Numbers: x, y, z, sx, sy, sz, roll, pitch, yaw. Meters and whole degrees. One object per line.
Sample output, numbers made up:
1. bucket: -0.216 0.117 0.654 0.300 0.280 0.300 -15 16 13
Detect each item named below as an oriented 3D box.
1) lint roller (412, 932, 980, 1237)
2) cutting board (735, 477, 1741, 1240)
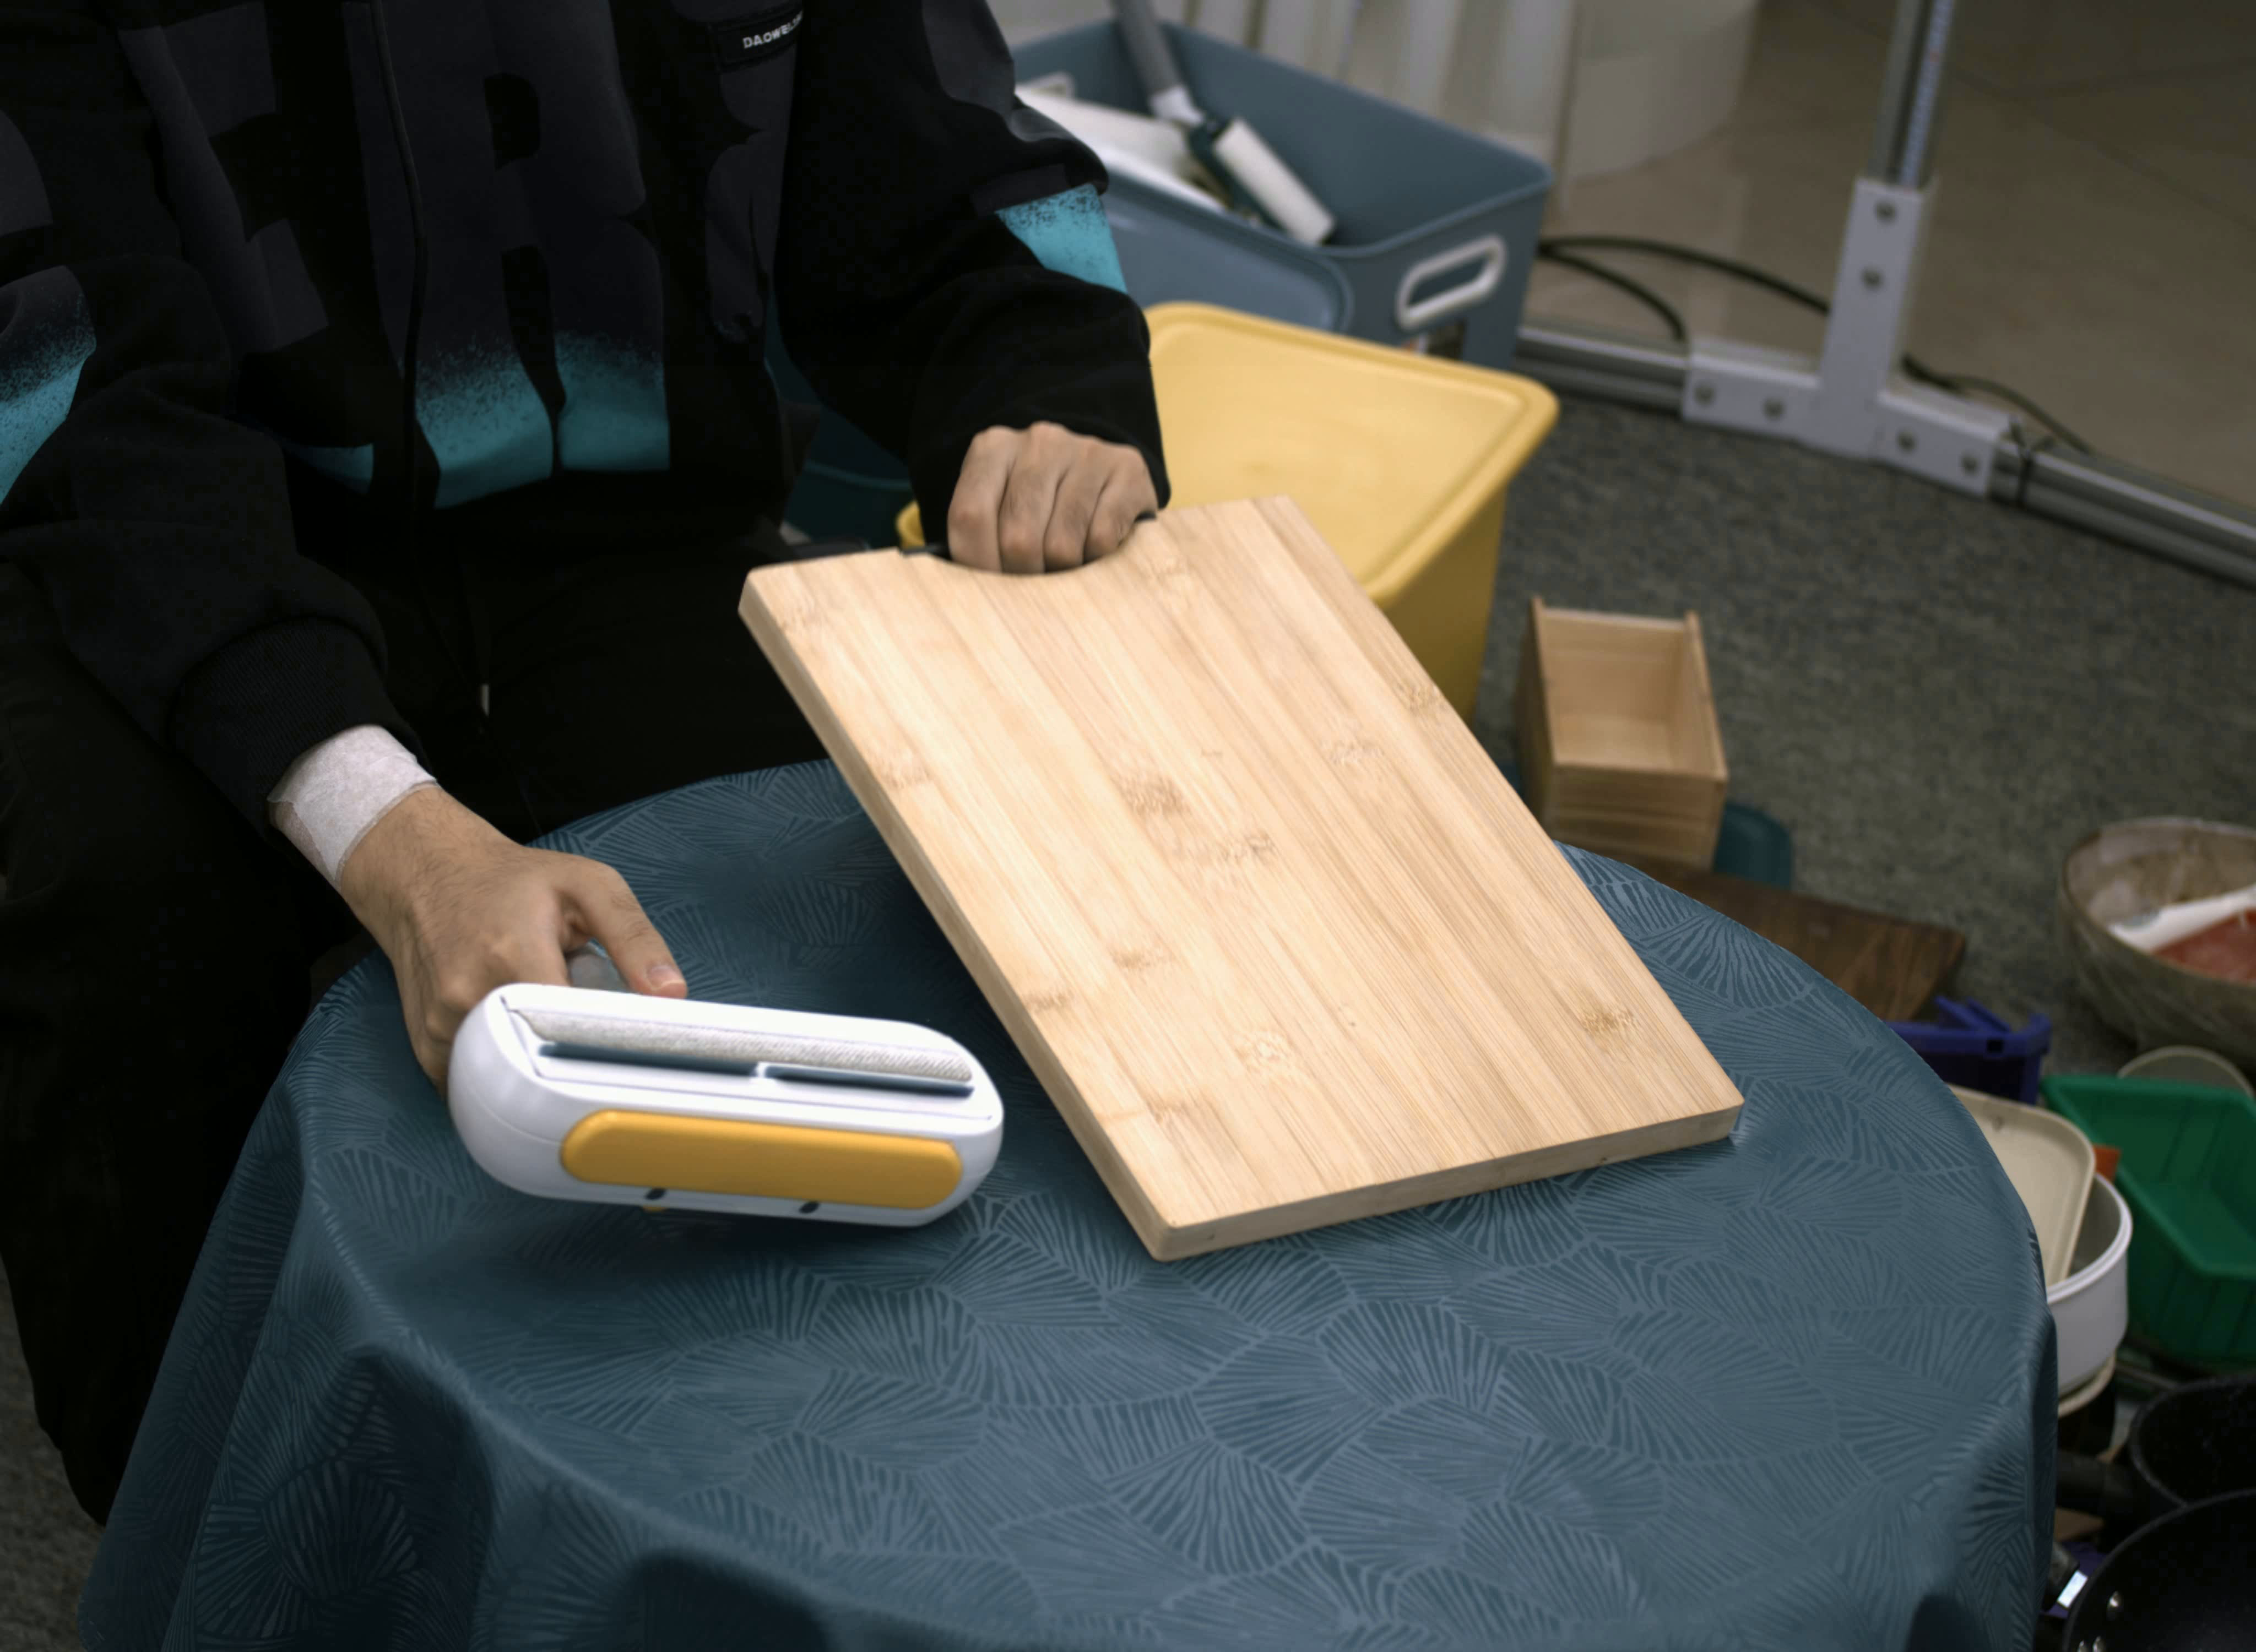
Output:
1. lint roller: -0.162 0.071 1.779 0.191 0.074 0.194 5 25 -26
2. cutting board: 0.034 0.004 1.918 0.249 0.023 0.352 -10 47 -29
